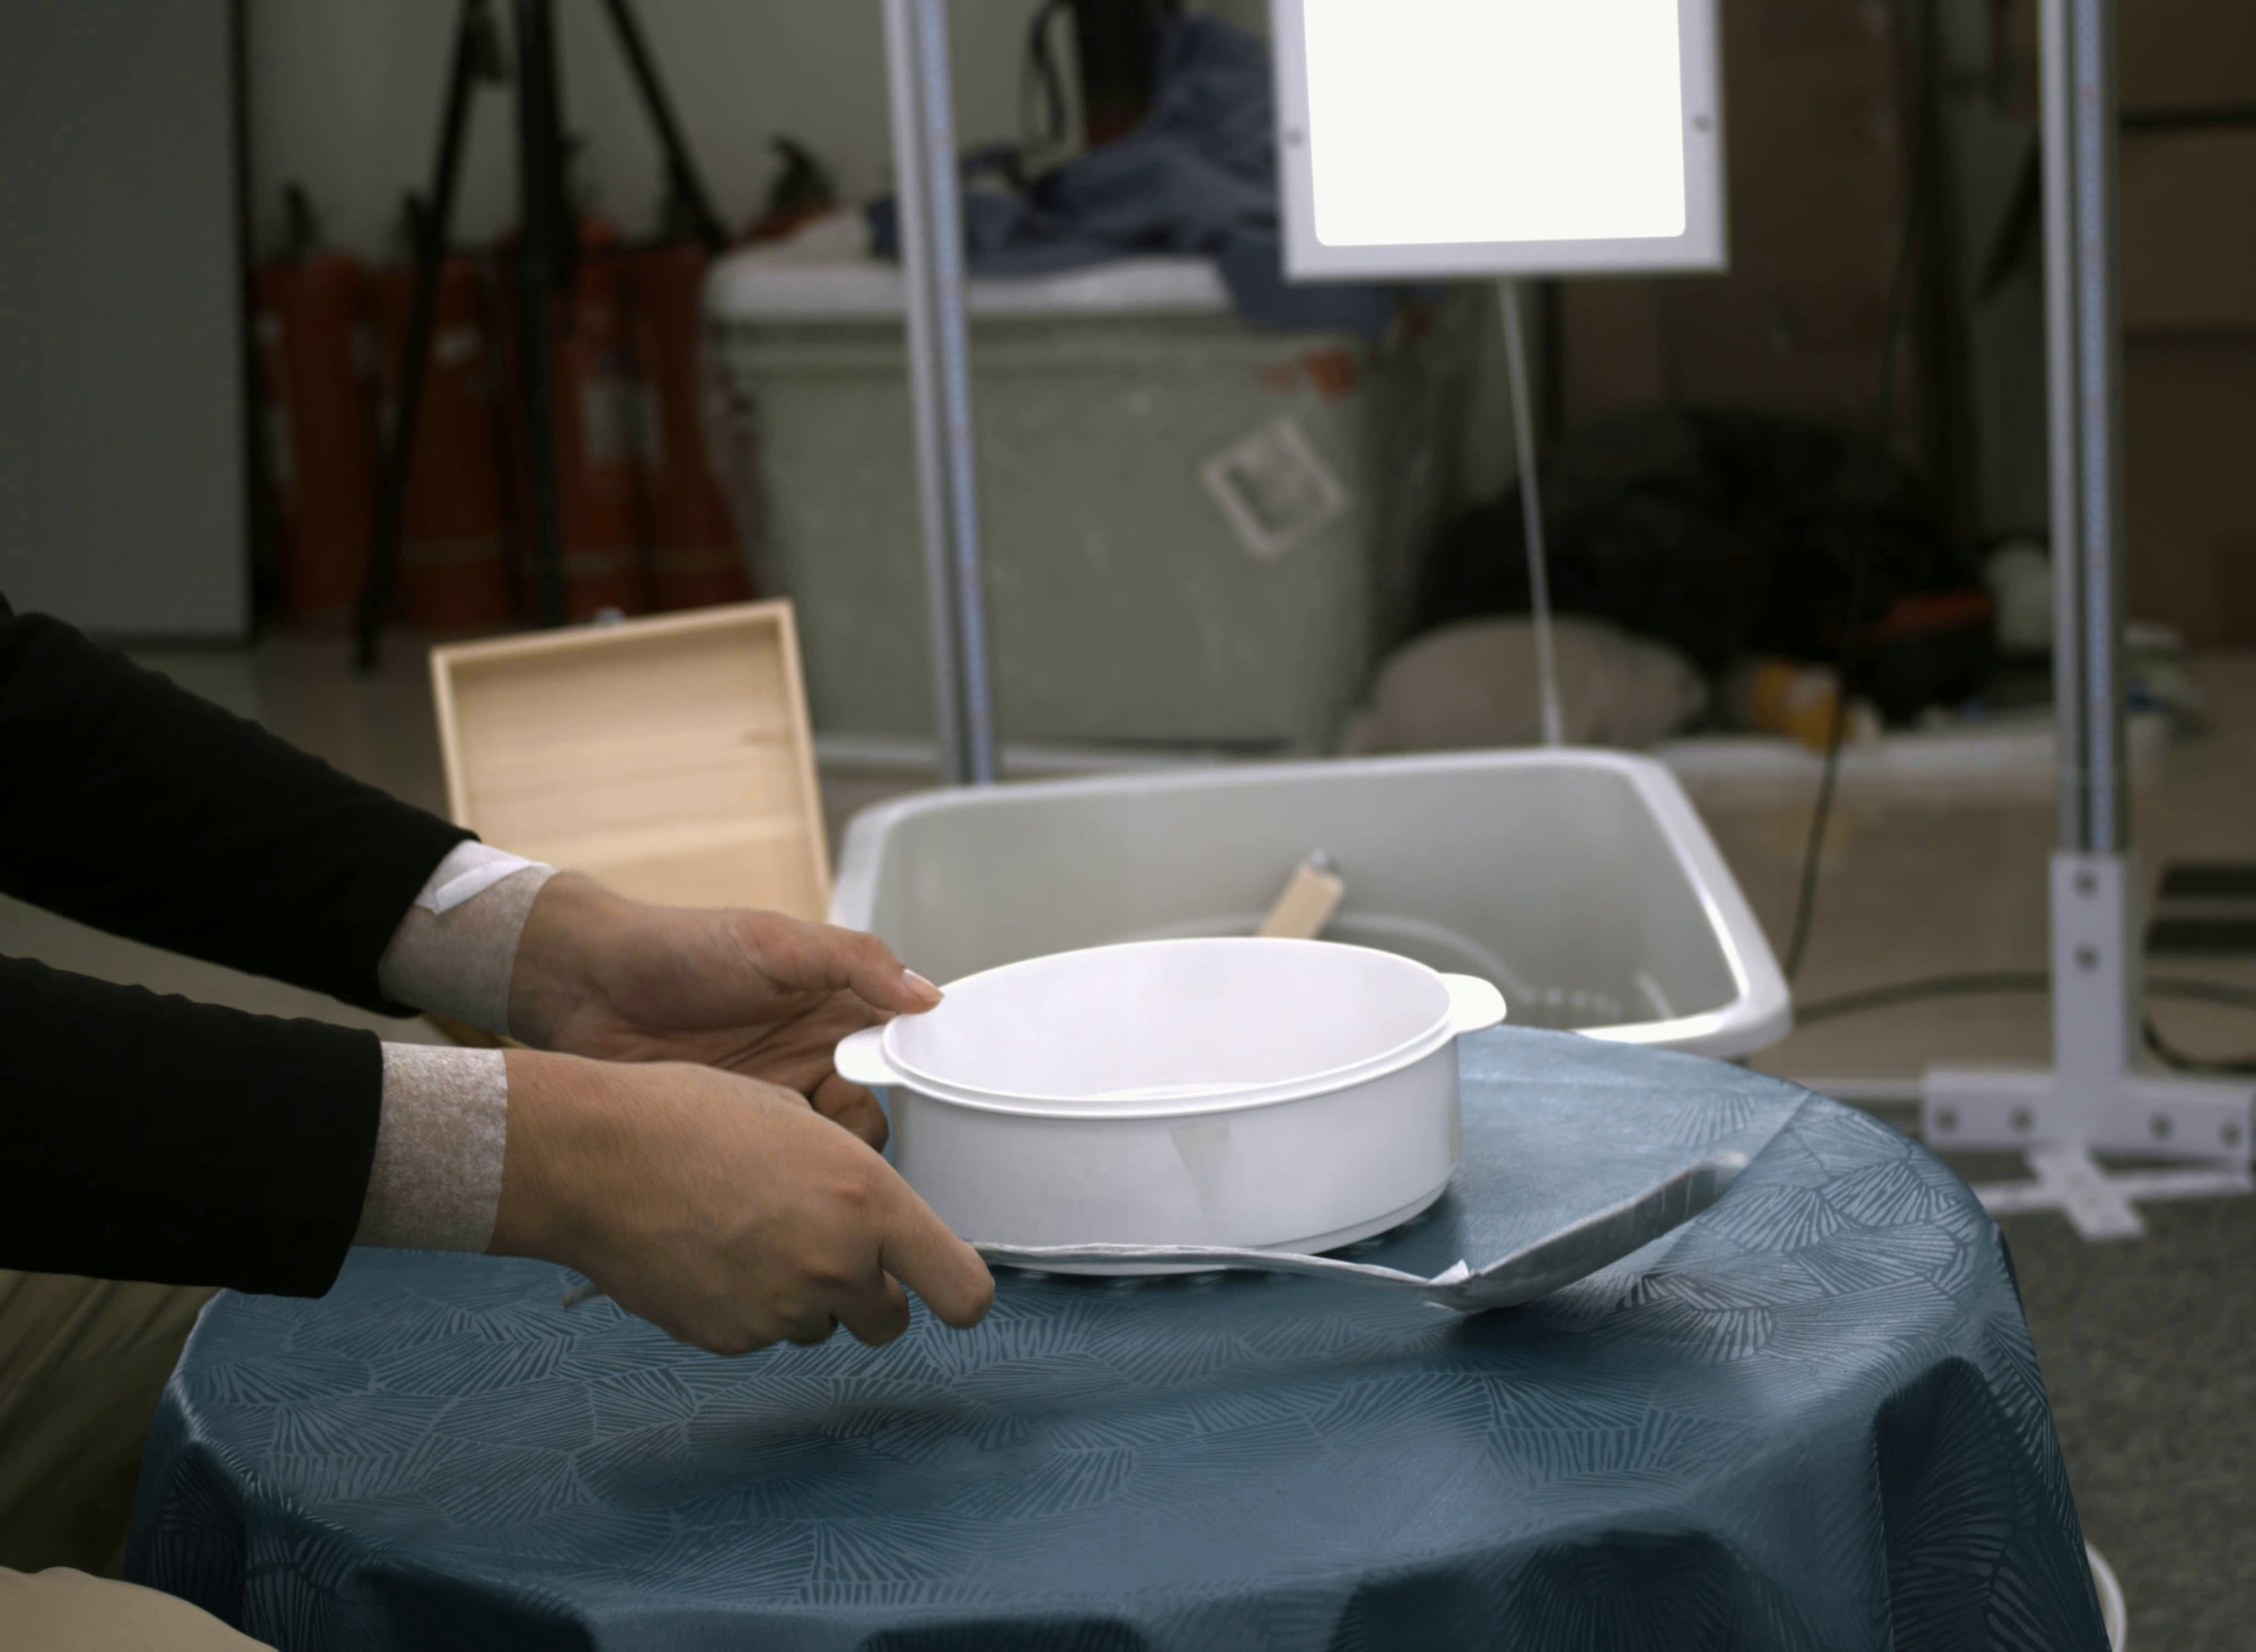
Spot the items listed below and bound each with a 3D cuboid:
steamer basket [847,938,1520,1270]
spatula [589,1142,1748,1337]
[{"bbox_3d":[0.021,0.095,1.874,0.230,0.069,0.202,-6,13,0],"label":"steamer basket"},{"bbox_3d":[0.014,0.131,1.711,0.362,0.045,0.099,-1,-16,-4],"label":"spatula"}]
